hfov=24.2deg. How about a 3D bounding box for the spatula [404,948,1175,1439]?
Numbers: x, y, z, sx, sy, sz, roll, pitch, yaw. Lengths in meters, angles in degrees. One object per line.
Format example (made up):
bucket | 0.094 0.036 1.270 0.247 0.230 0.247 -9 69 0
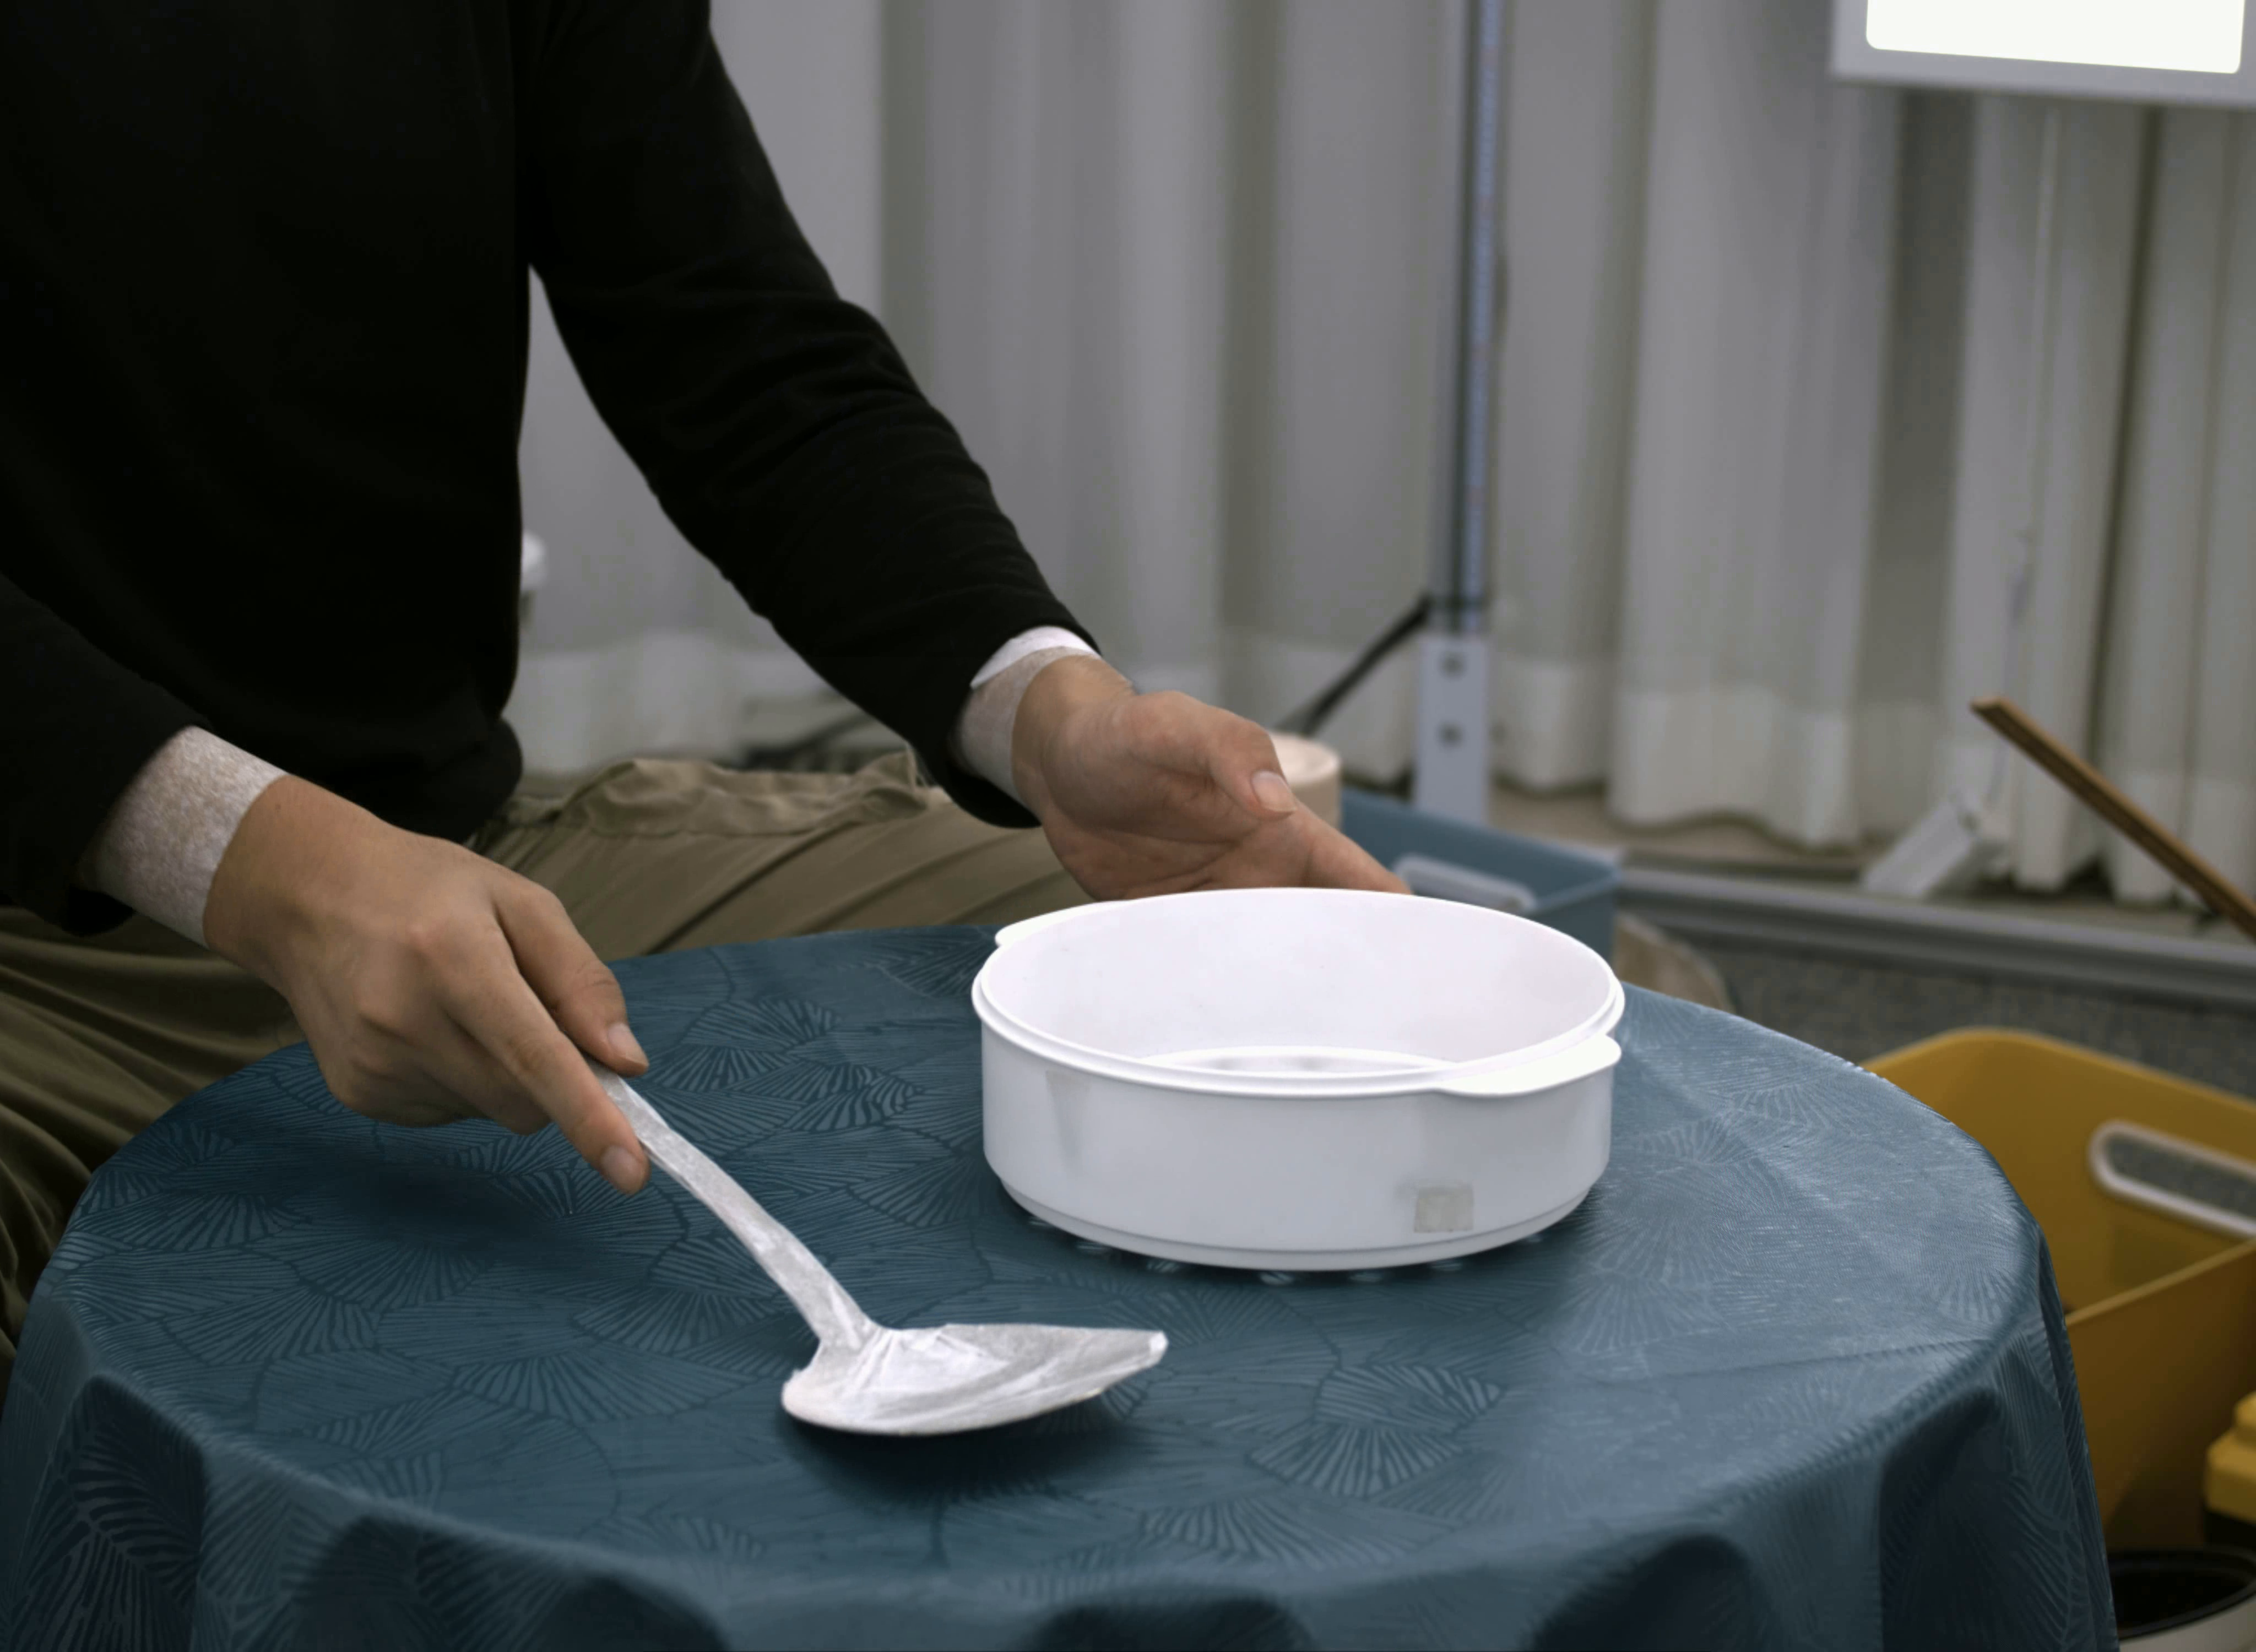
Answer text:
spatula | -0.122 0.097 1.524 0.099 0.045 0.359 -17 34 -33

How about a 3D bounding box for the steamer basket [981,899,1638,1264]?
steamer basket | 0.055 0.078 1.616 0.203 0.070 0.227 -12 19 -42
